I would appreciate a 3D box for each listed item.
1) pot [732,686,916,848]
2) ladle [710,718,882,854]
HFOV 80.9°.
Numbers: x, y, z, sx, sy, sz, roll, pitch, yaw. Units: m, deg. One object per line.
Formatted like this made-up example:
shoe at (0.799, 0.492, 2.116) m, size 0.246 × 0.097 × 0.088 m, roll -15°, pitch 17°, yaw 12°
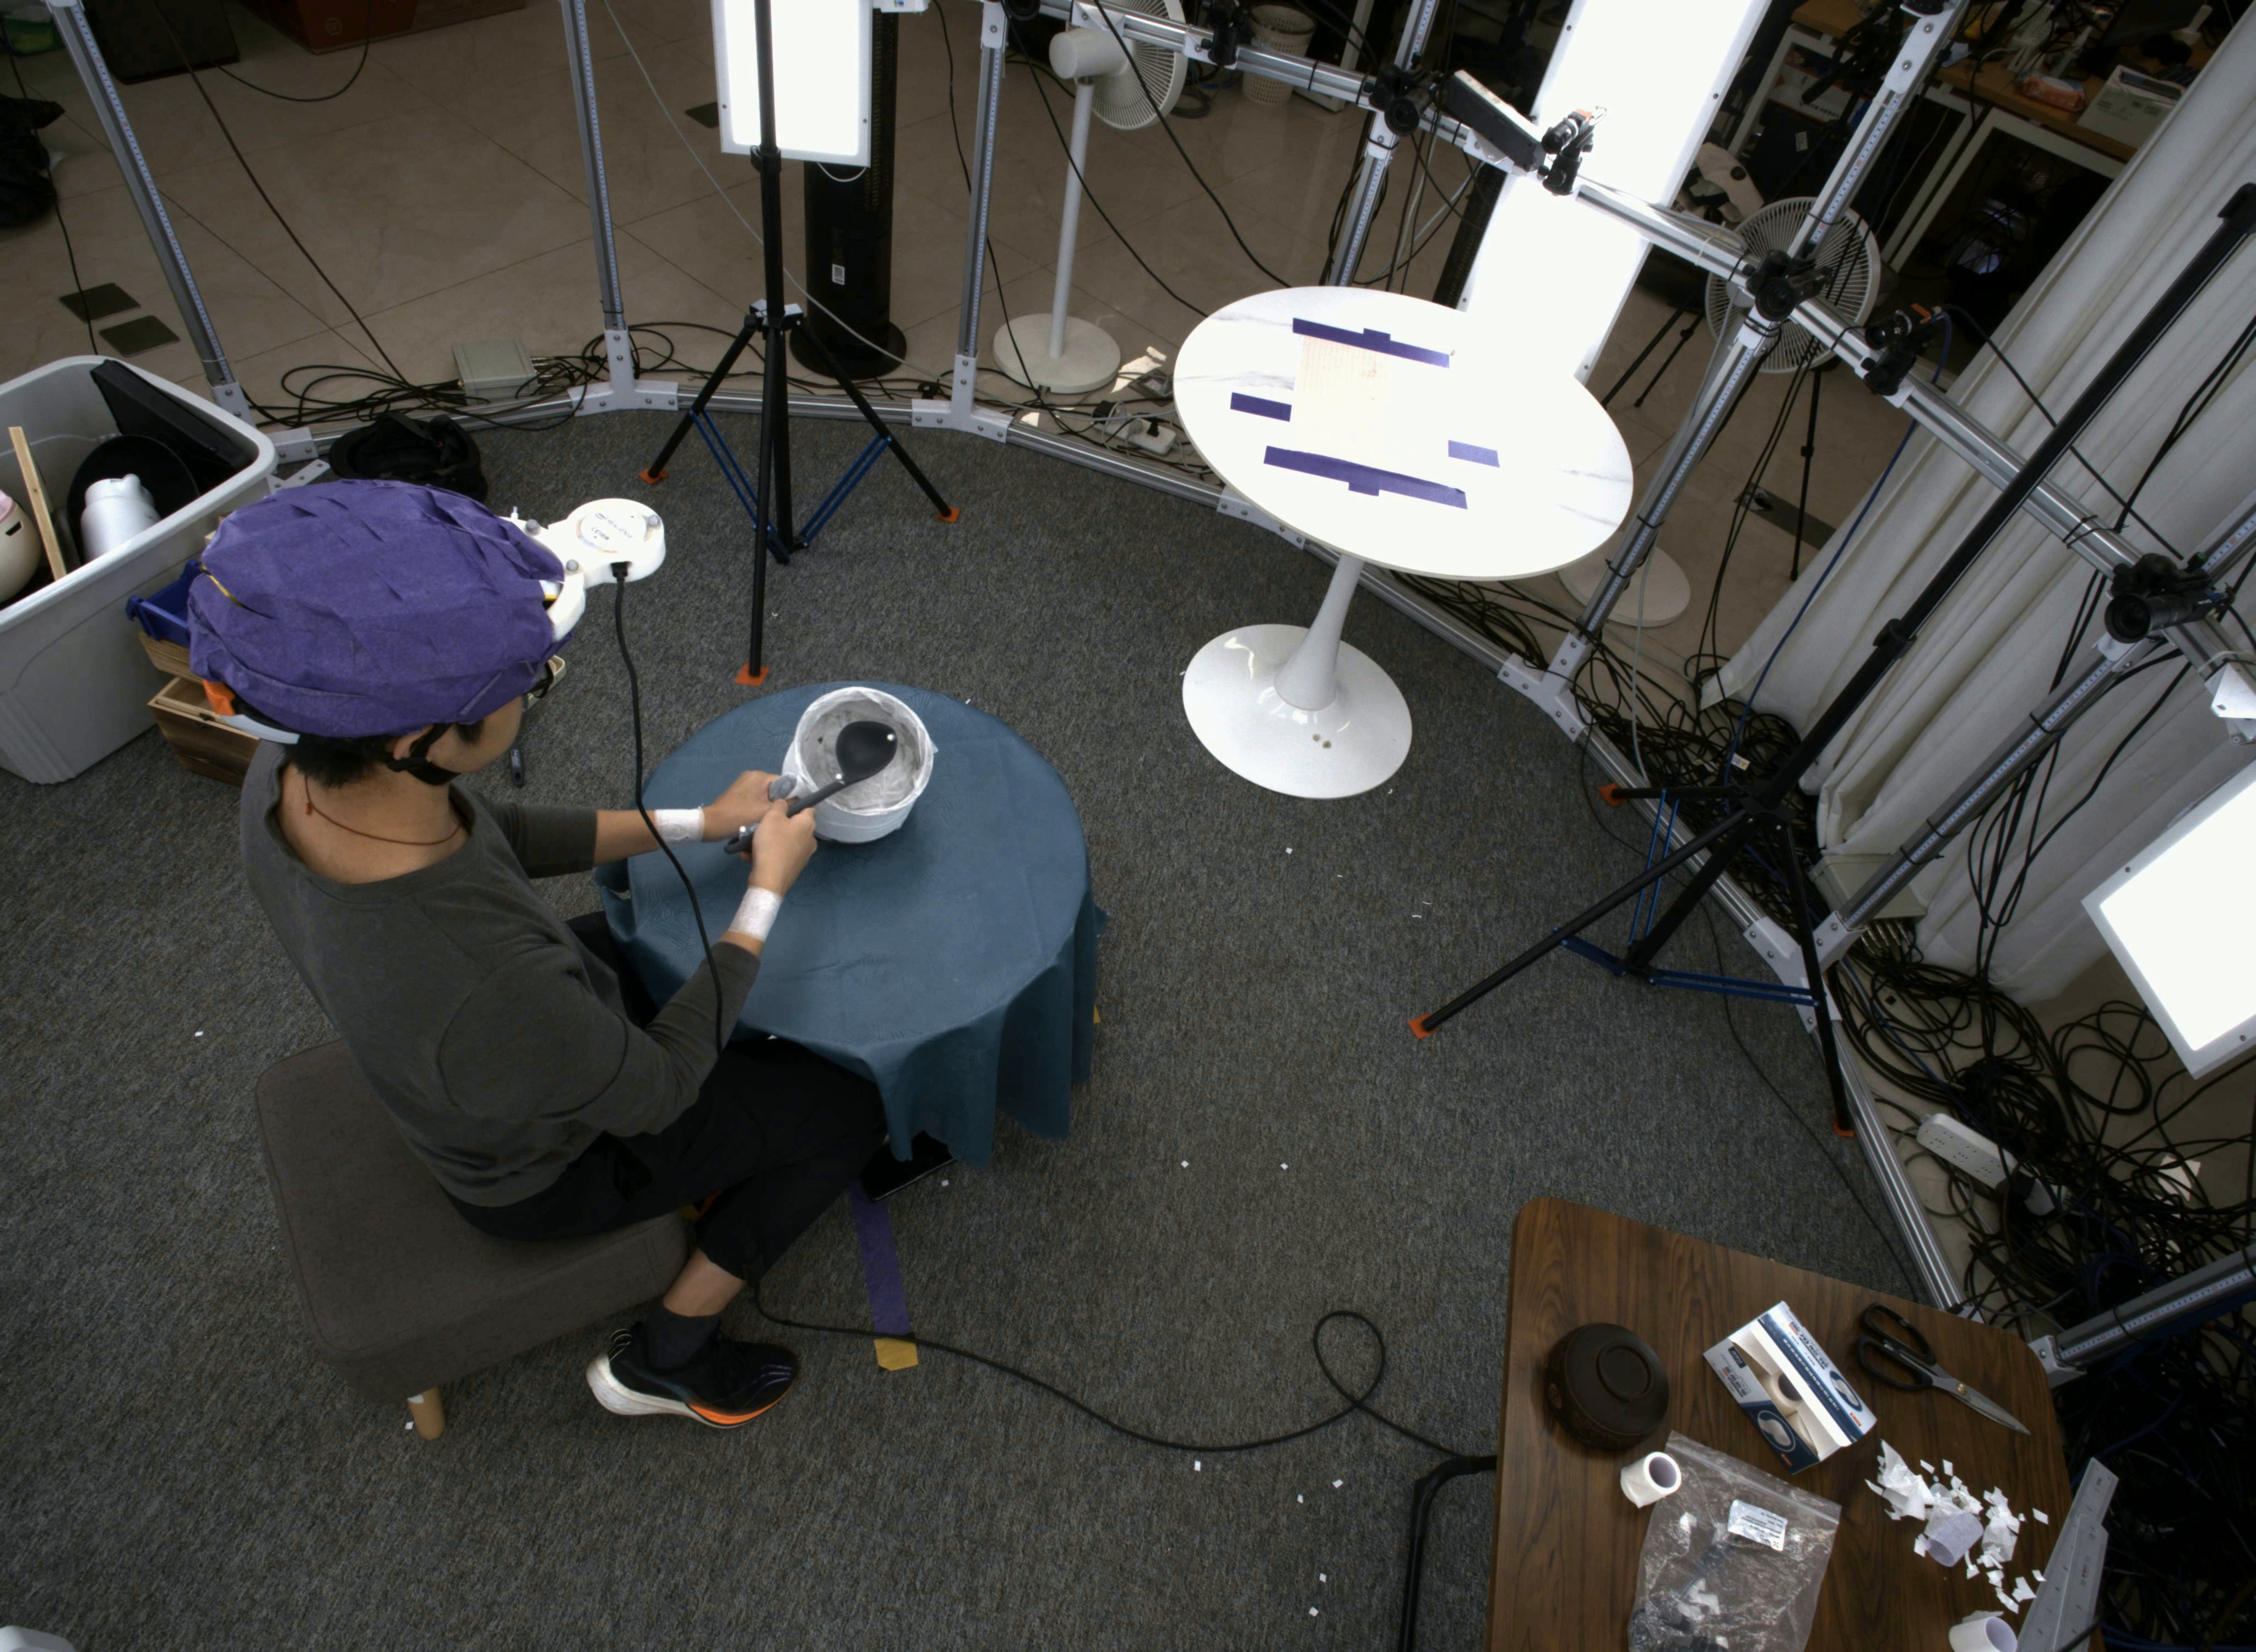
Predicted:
pot at (-0.398, -0.061, 1.677) m, size 0.235 × 0.136 × 0.178 m, roll -28°, pitch 82°, yaw -30°
ladle at (-0.395, -0.052, 1.524) m, size 0.084 × 0.066 × 0.313 m, roll 8°, pitch 24°, yaw 19°
